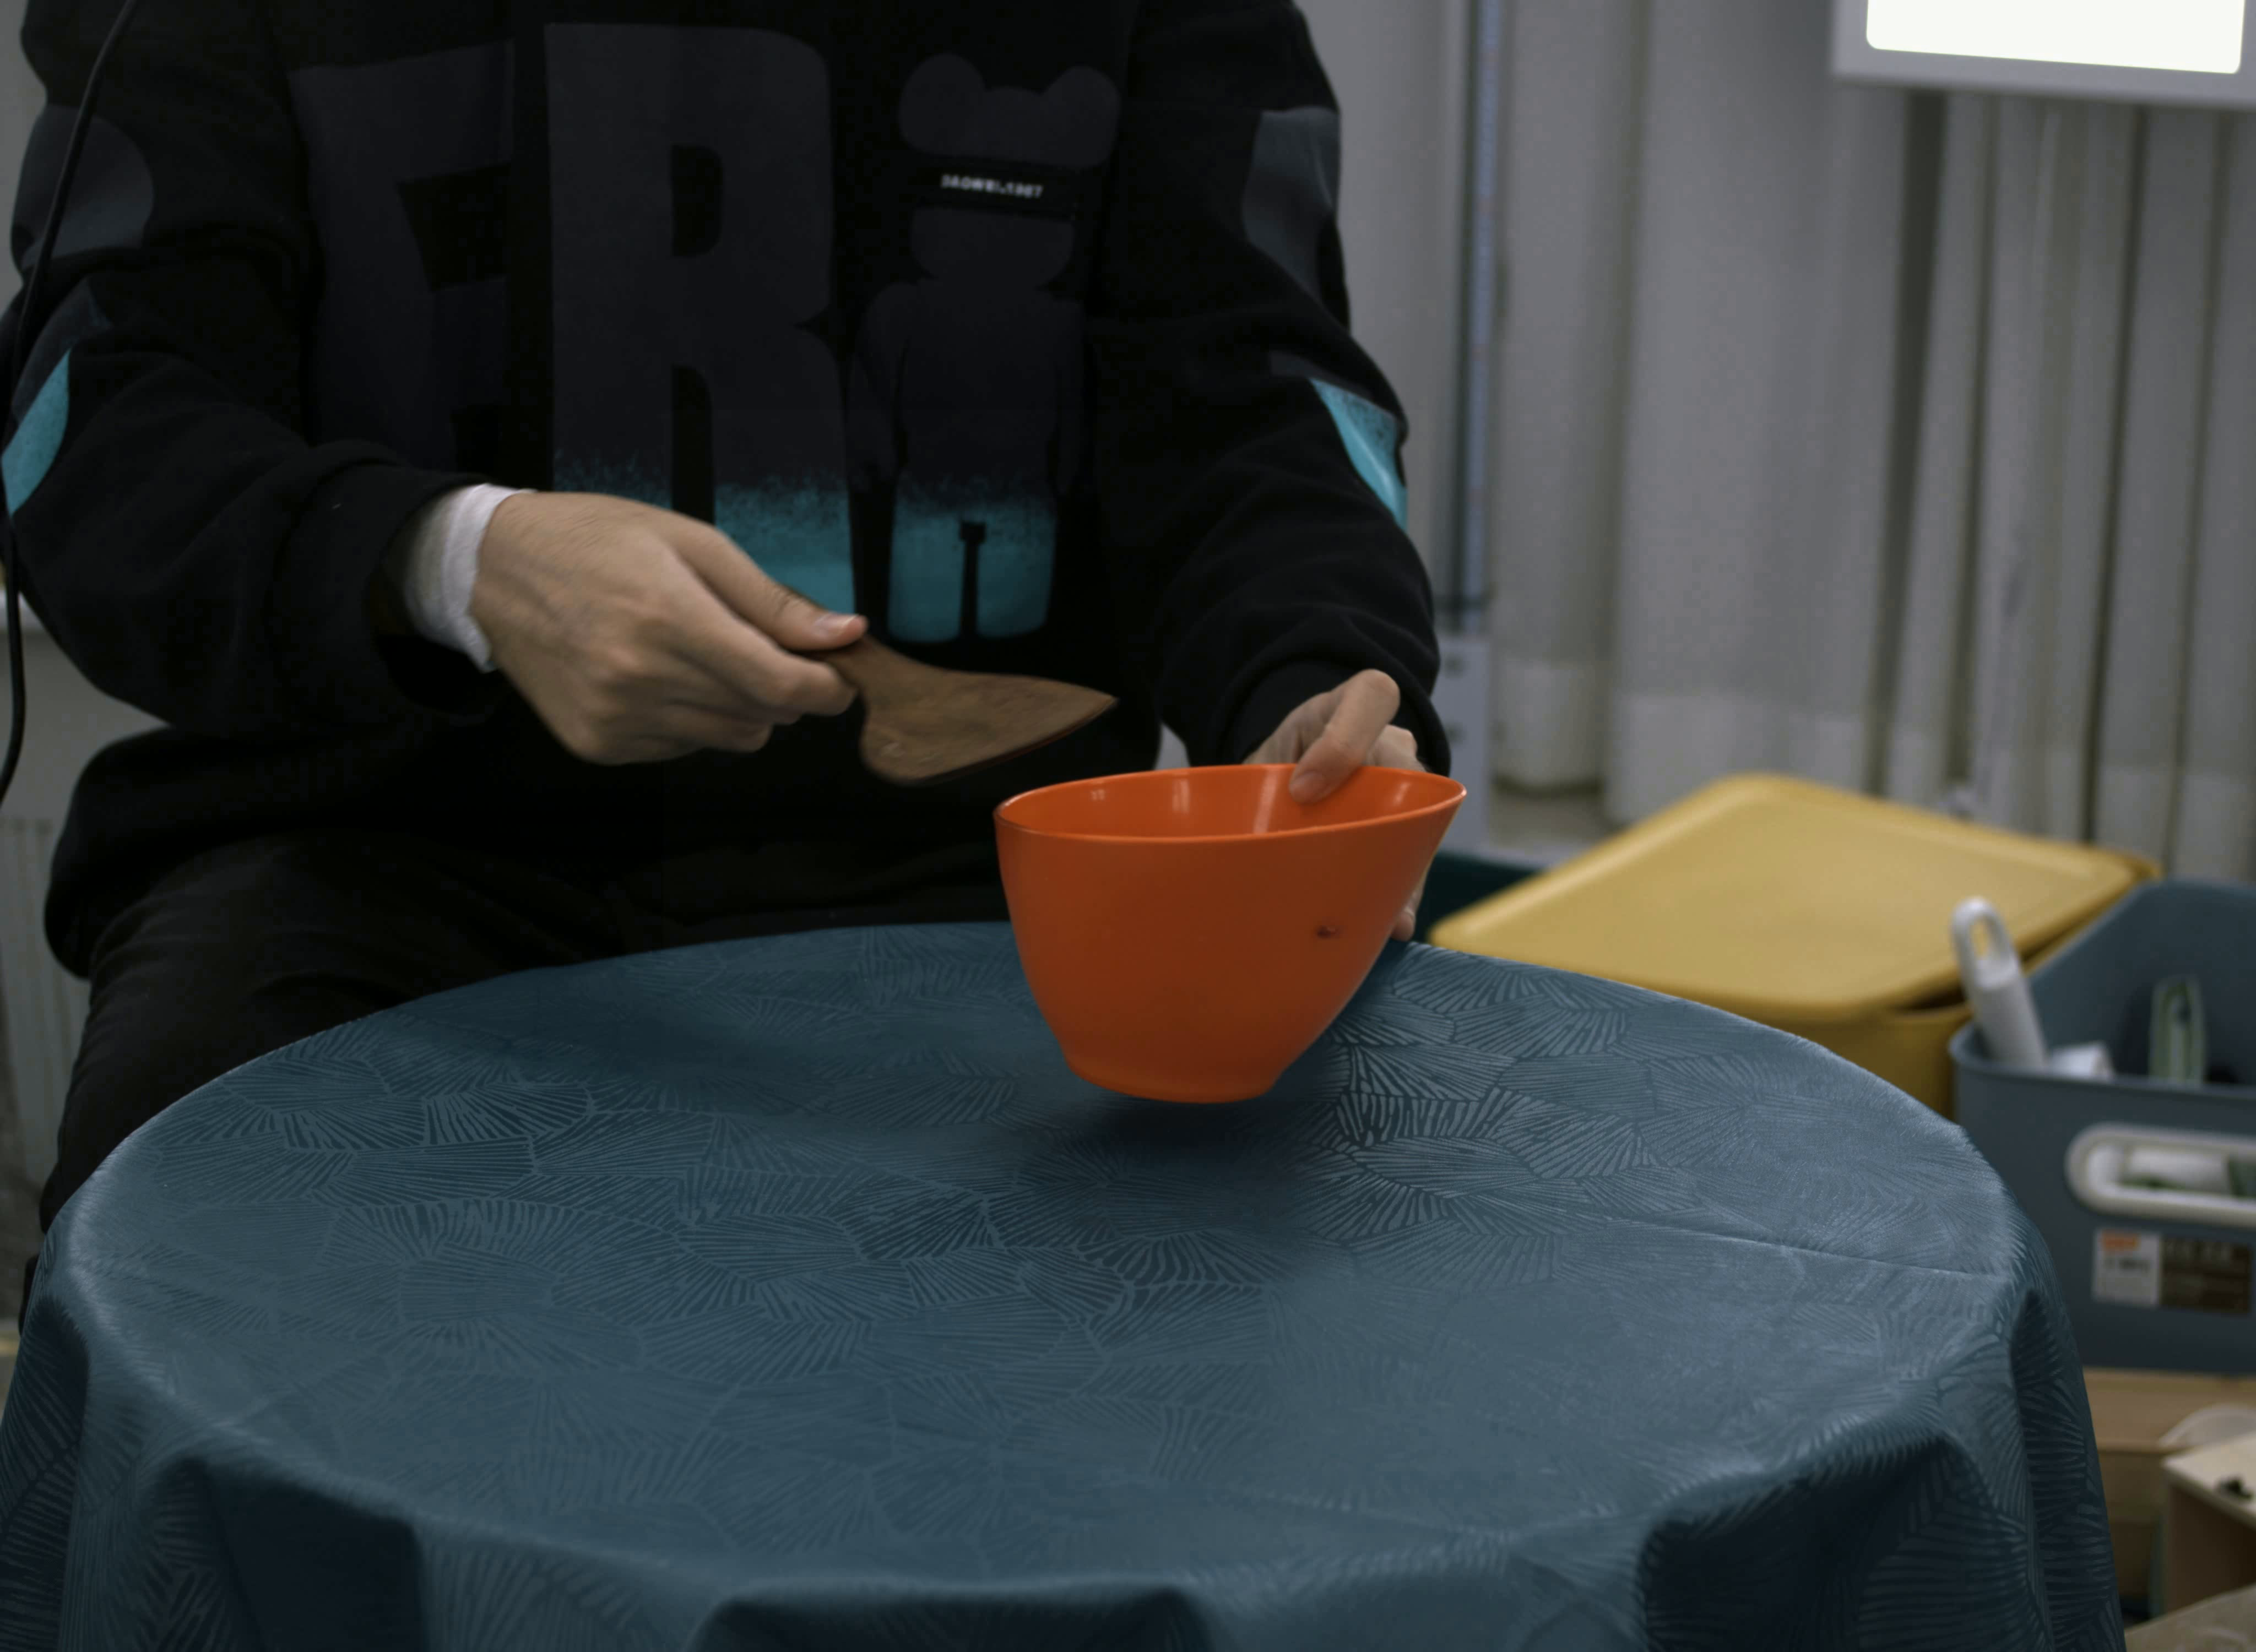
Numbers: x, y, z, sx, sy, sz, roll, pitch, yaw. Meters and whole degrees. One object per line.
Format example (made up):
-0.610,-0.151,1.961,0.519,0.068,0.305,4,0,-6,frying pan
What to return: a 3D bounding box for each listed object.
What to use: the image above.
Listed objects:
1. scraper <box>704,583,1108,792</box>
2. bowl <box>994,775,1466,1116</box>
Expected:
-0.083,-0.048,1.688,0.076,0.011,0.208,-21,26,-23,scraper
0.028,0.035,1.660,0.147,0.105,0.147,4,13,-1,bowl
